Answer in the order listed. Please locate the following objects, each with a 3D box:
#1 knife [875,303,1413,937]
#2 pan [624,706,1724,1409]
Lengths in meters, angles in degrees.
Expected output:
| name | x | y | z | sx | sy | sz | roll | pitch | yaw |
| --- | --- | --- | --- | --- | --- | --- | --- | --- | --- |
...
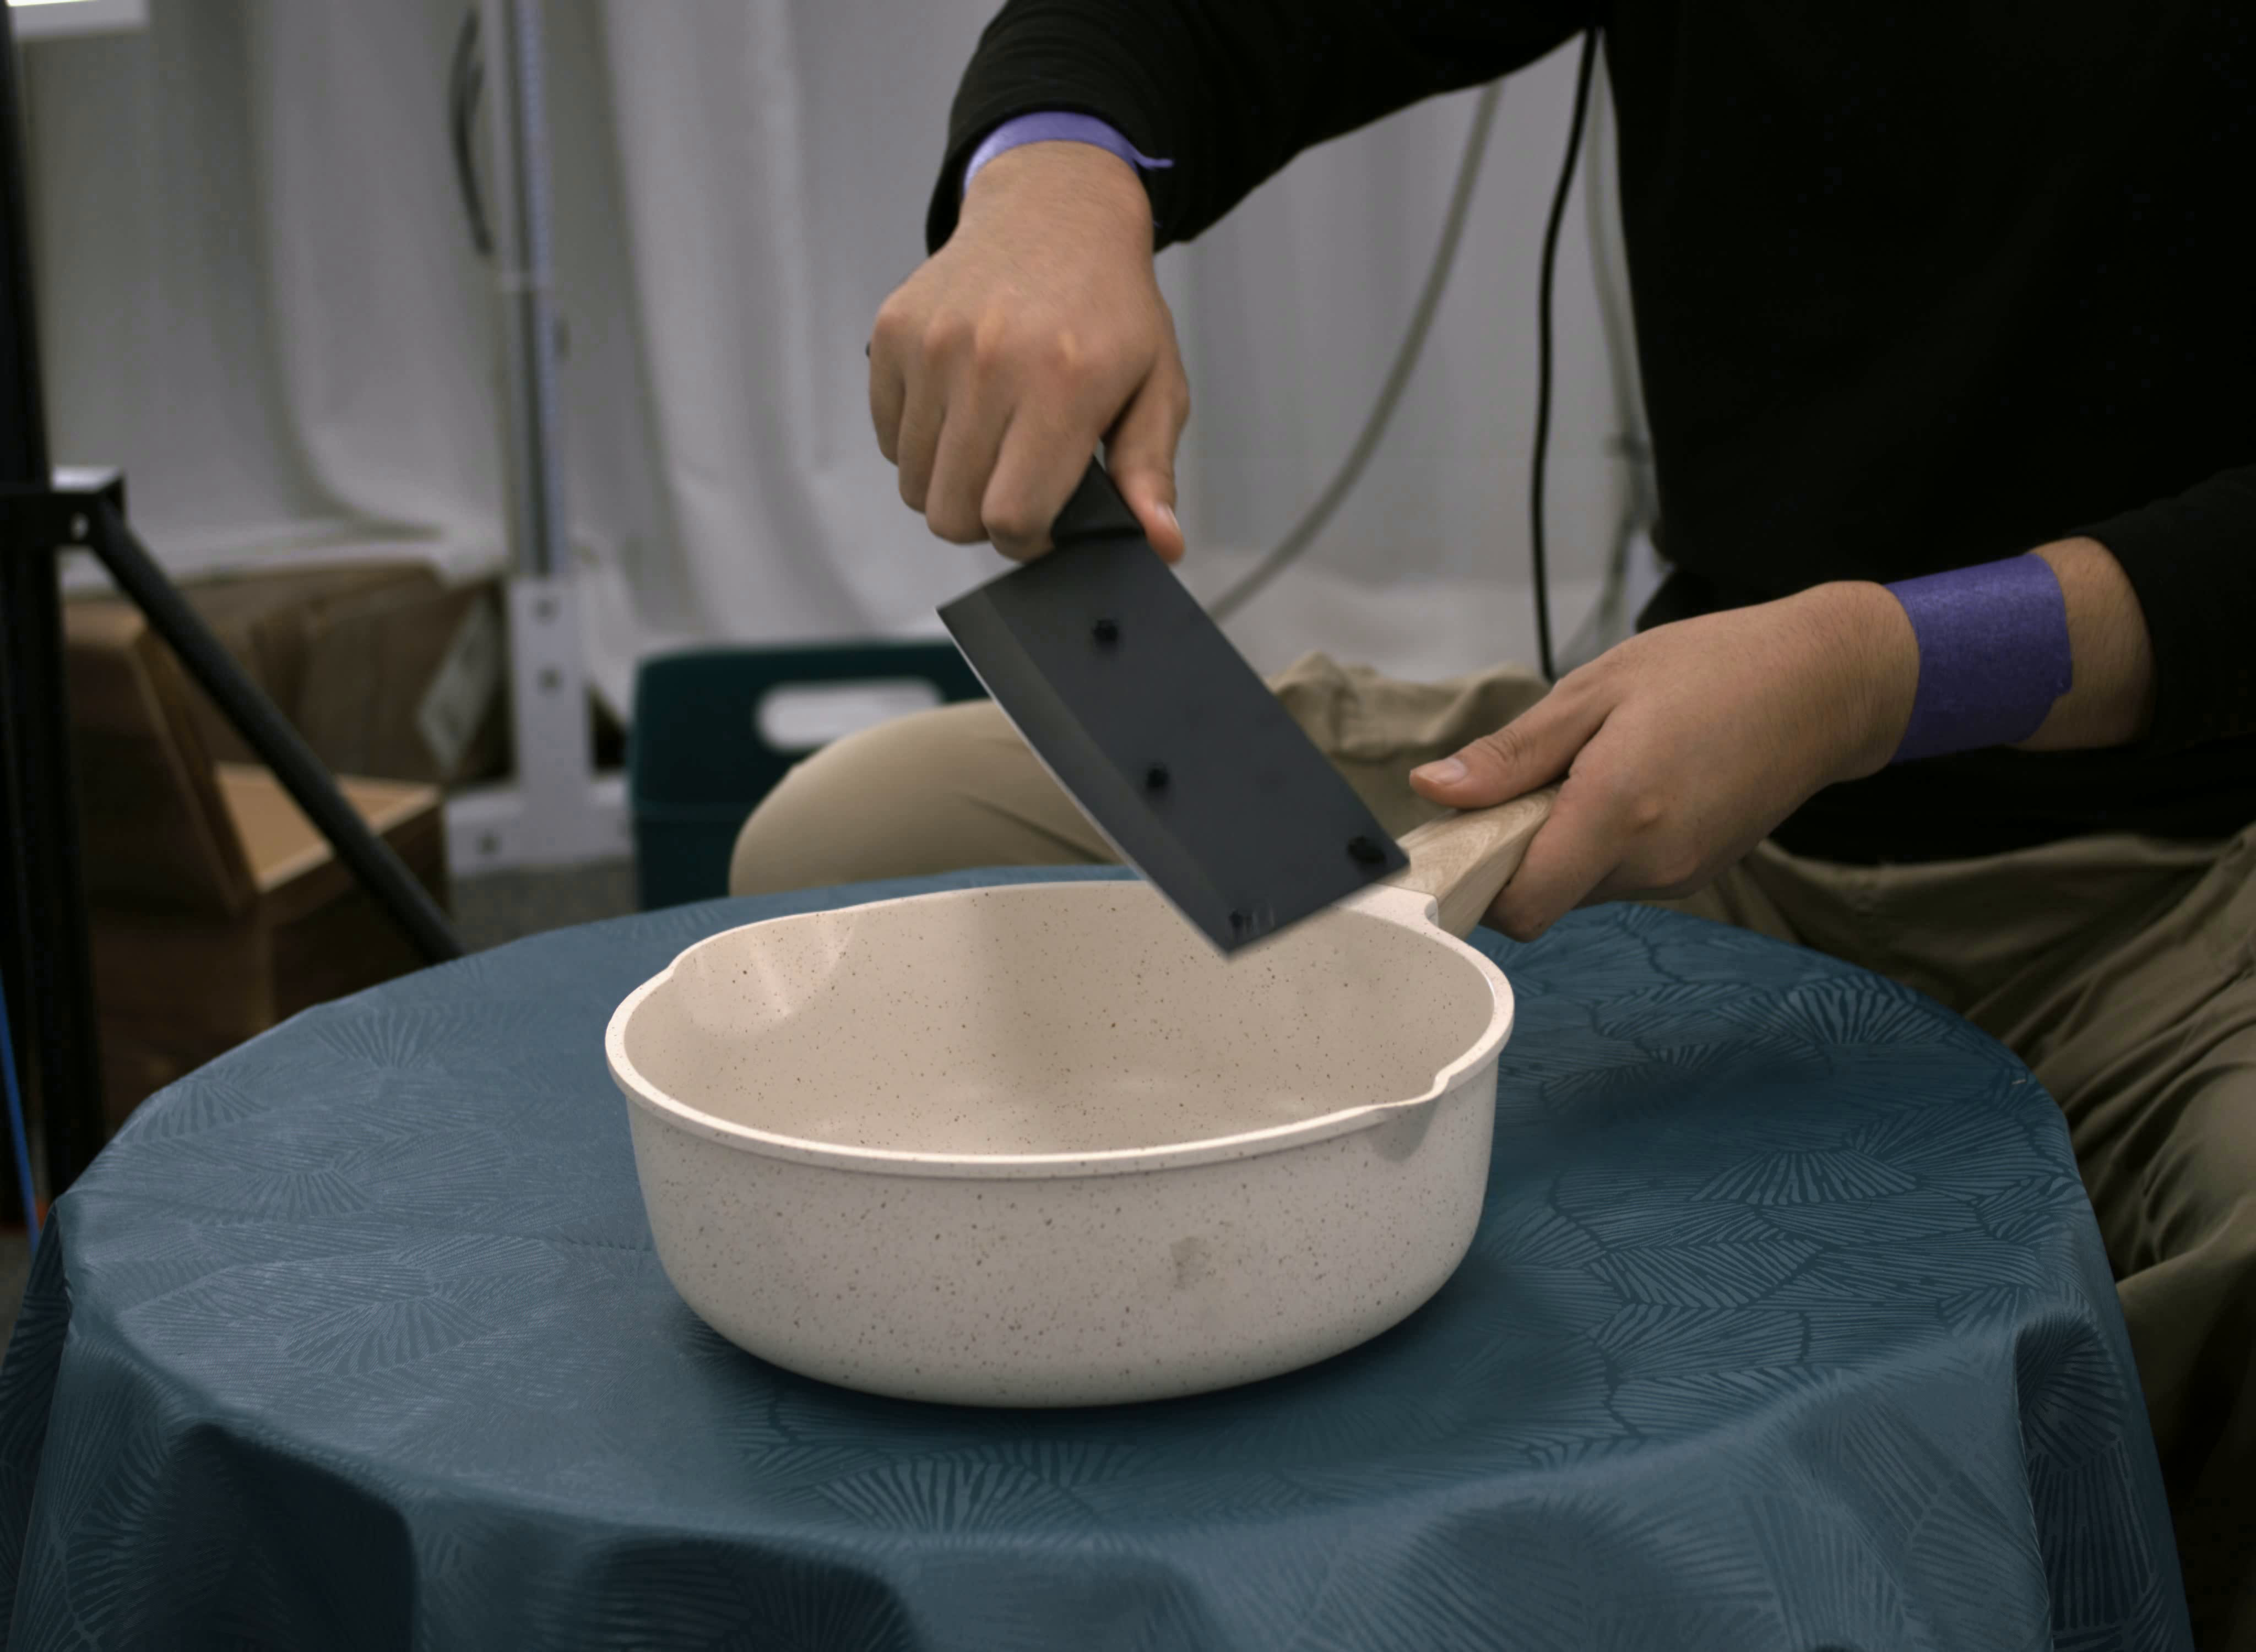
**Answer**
| name | x | y | z | sx | sy | sz | roll | pitch | yaw |
| --- | --- | --- | --- | --- | --- | --- | --- | --- | --- |
| knife | -0.011 | -0.066 | 1.553 | 0.080 | 0.020 | 0.308 | -24 | 43 | -8 |
| pan | 0.047 | 0.062 | 1.532 | 0.269 | 0.102 | 0.425 | 9 | 20 | 41 |
